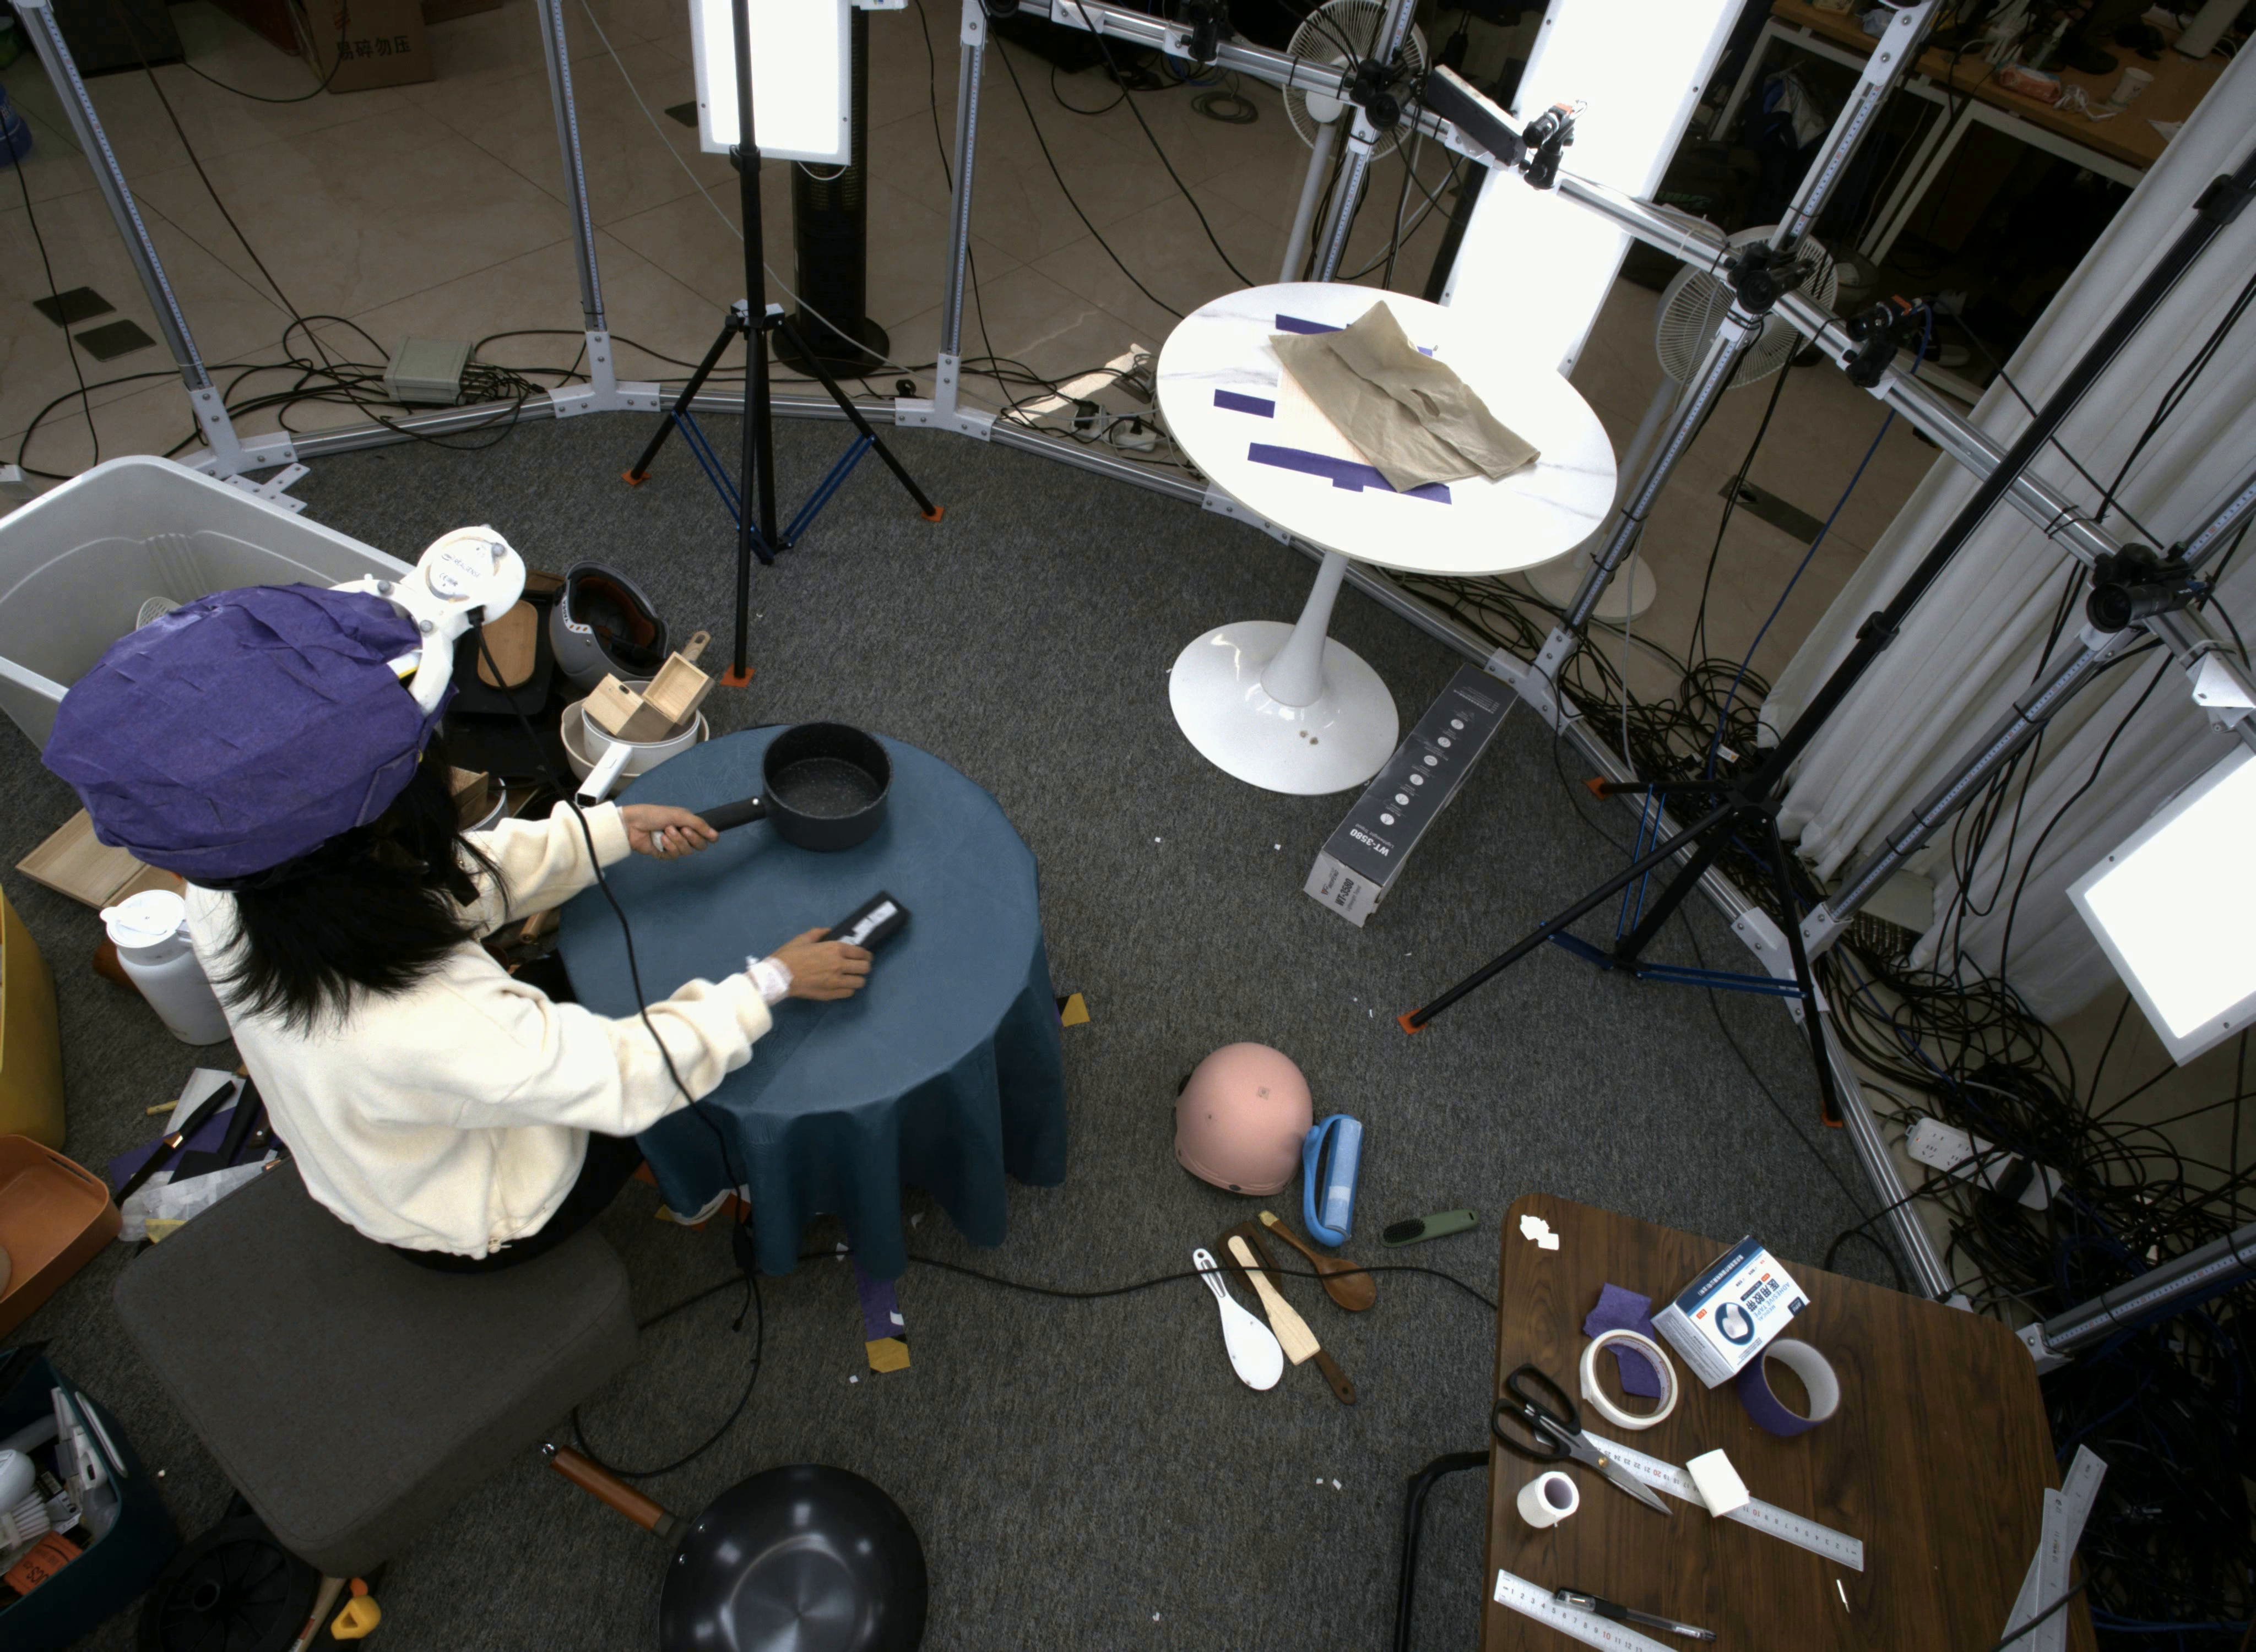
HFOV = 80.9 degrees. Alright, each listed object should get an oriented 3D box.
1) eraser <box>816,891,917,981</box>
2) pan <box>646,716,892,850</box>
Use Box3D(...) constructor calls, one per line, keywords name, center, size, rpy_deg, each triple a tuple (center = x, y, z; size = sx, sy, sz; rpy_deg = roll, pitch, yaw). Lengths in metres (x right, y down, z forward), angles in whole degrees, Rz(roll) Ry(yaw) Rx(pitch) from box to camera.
Box3D(name="eraser", center=(-0.326, 0.133, 1.620), size=(0.053, 0.031, 0.125), rpy_deg=(43, 55, 10))
Box3D(name="pan", center=(-0.461, -0.029, 1.668), size=(0.331, 0.088, 0.168), rpy_deg=(-24, 62, -33))
